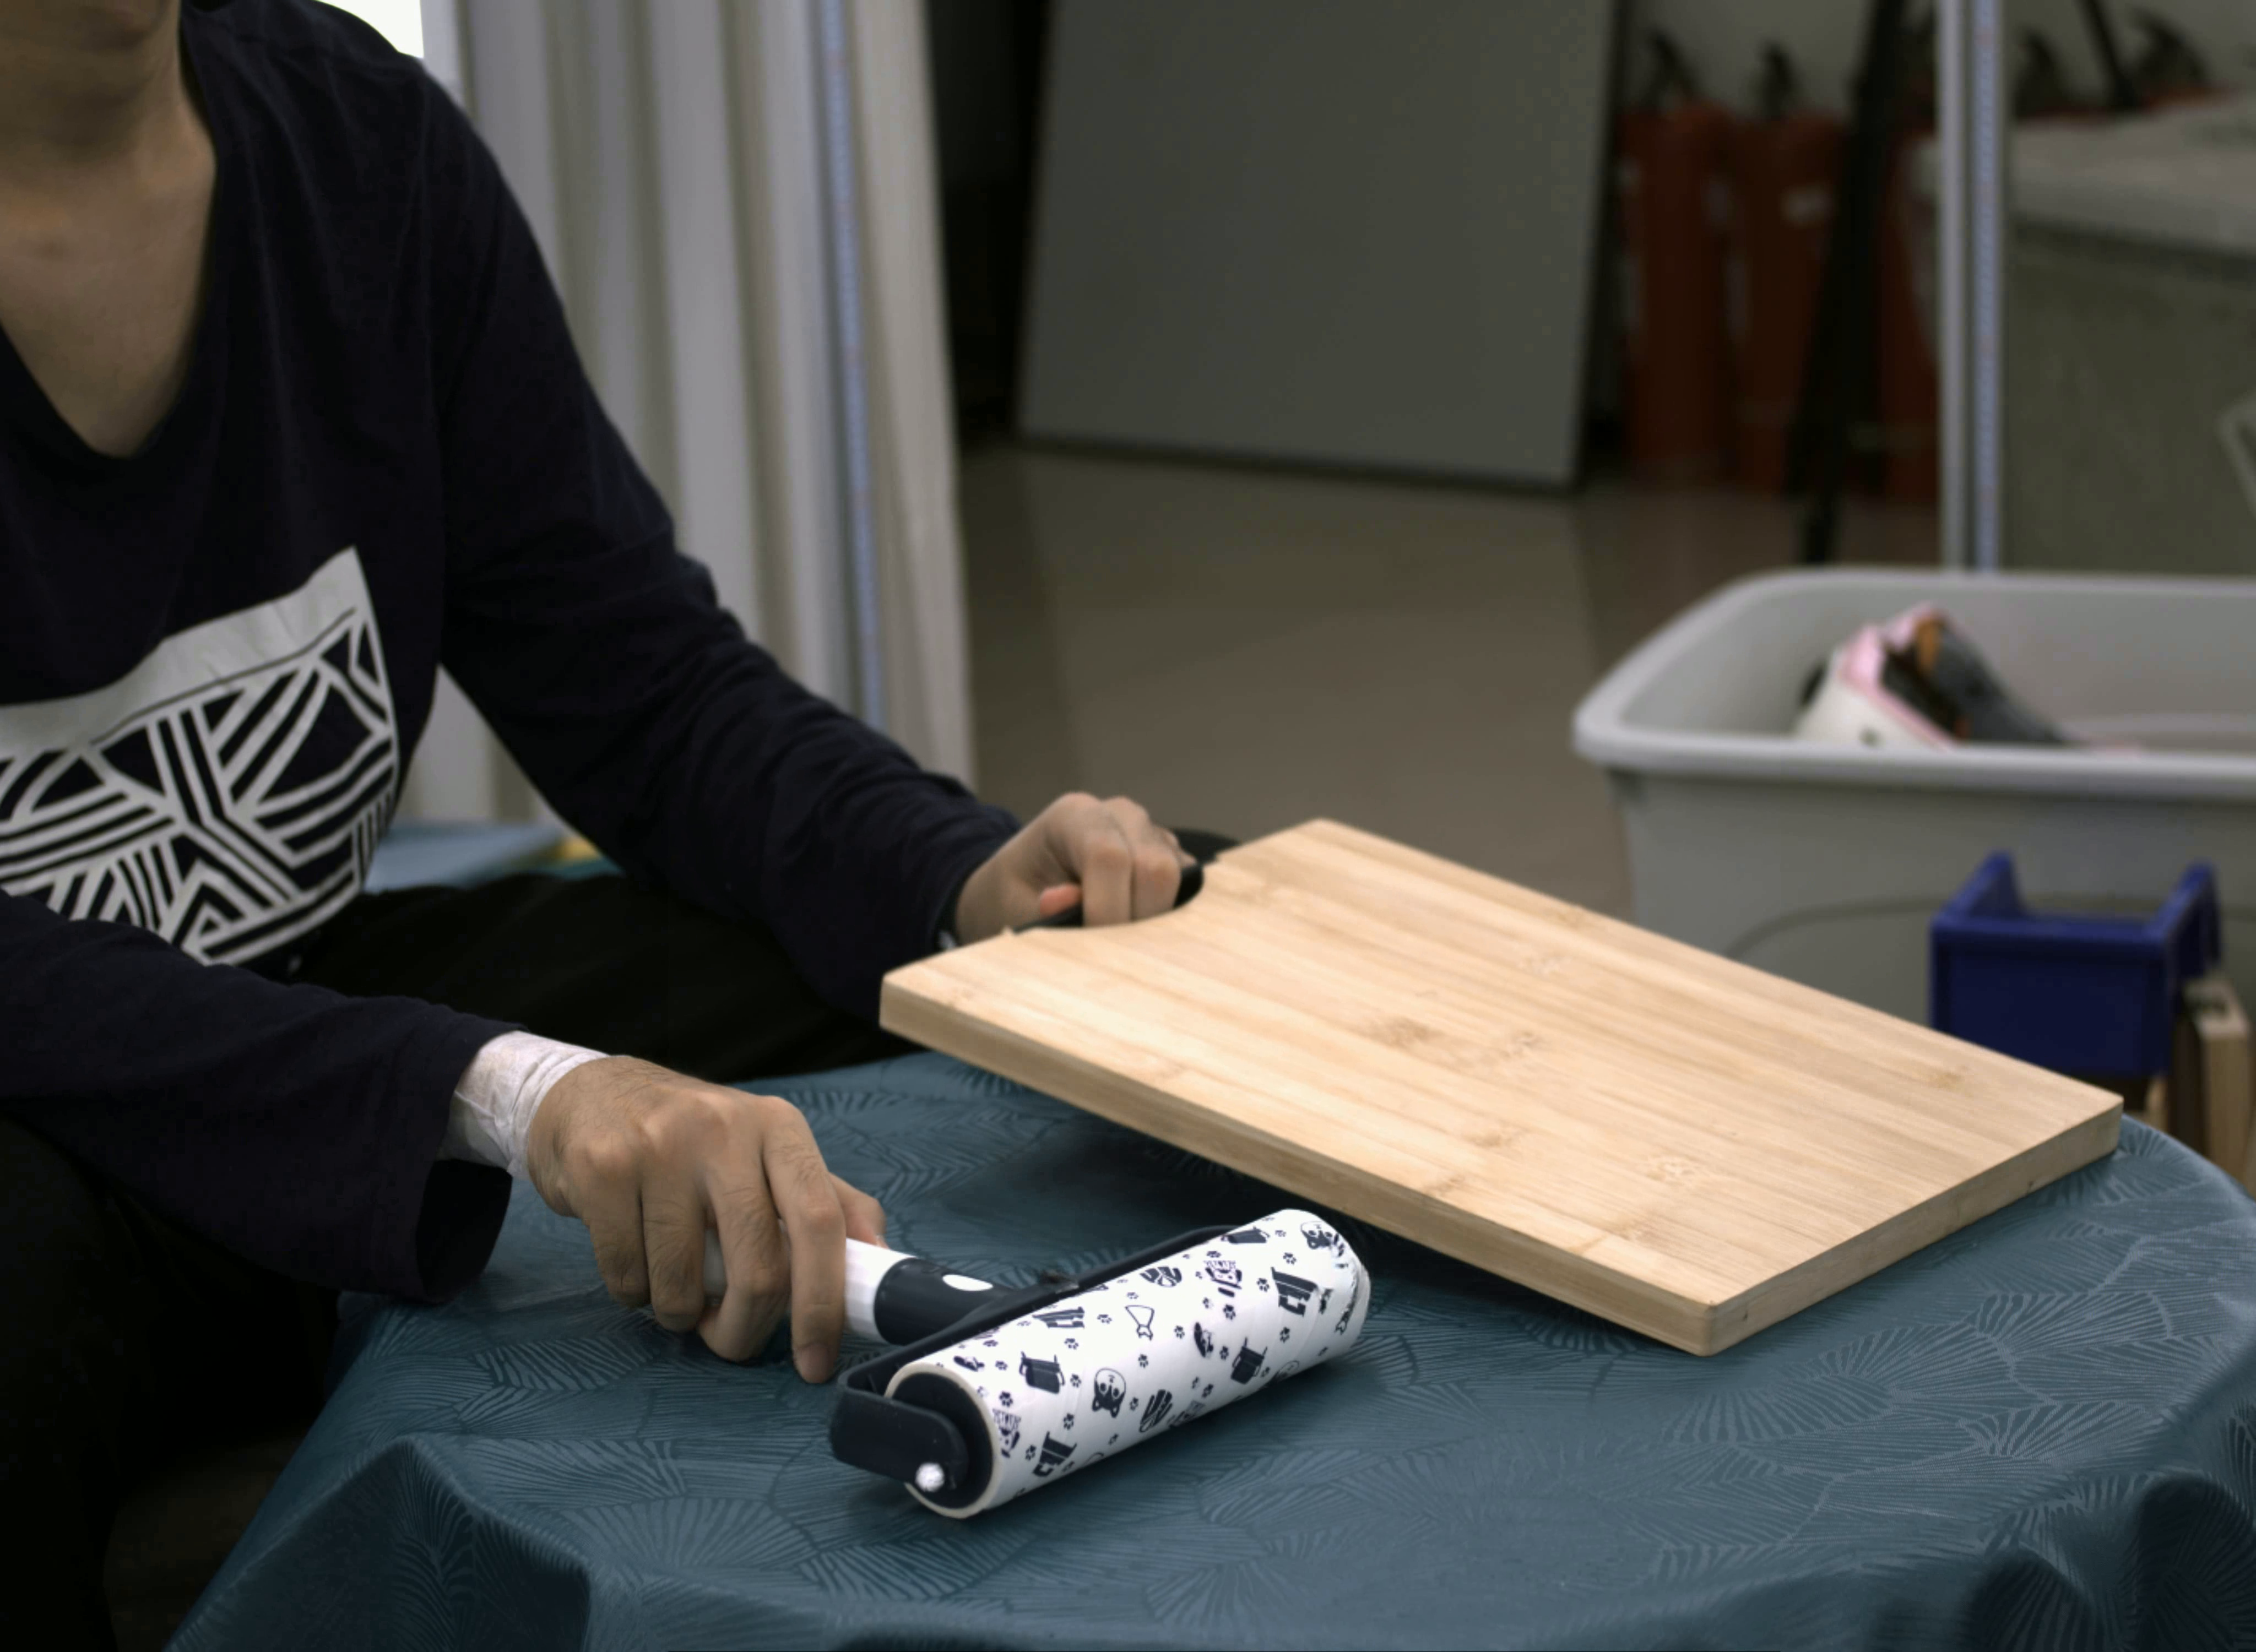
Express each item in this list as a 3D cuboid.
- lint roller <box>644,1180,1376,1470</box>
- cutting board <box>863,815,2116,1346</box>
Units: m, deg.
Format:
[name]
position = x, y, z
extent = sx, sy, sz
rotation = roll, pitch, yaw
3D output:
[lint roller]
position = -0.068, 0.131, 1.613
extent = 0.172, 0.051, 0.249
rotation = -13, 15, -40
[cutting board]
position = 0.116, 0.076, 1.769
extent = 0.351, 0.024, 0.246
rotation = 19, 25, 37
